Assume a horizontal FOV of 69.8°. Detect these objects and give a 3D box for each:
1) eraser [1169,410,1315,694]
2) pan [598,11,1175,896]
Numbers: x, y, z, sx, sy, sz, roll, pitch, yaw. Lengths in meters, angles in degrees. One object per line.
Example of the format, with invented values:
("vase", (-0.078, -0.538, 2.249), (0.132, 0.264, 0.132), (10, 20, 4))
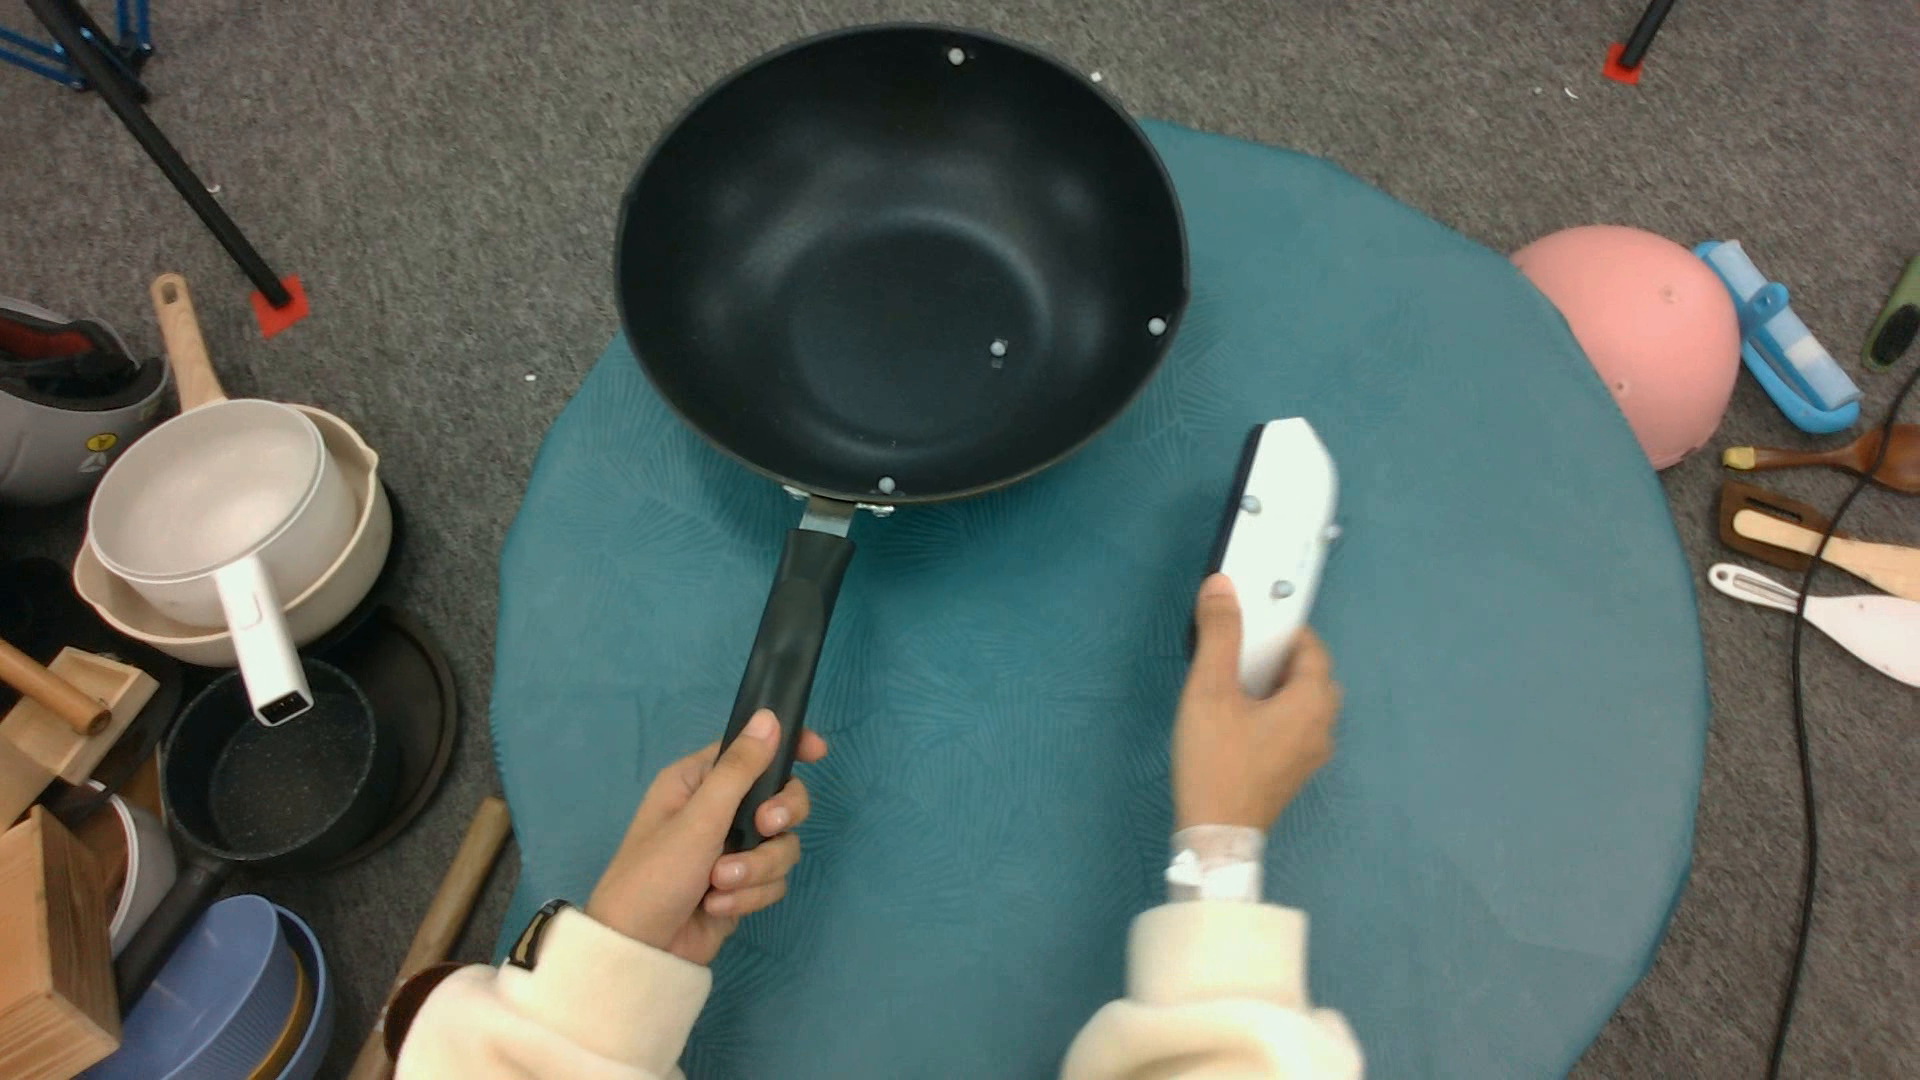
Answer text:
("eraser", (0.137, 0.004, 0.652), (0.034, 0.063, 0.132), (2, 65, 38))
("pan", (-0.056, -0.053, 0.678), (0.288, 0.086, 0.465), (12, 69, 5))
